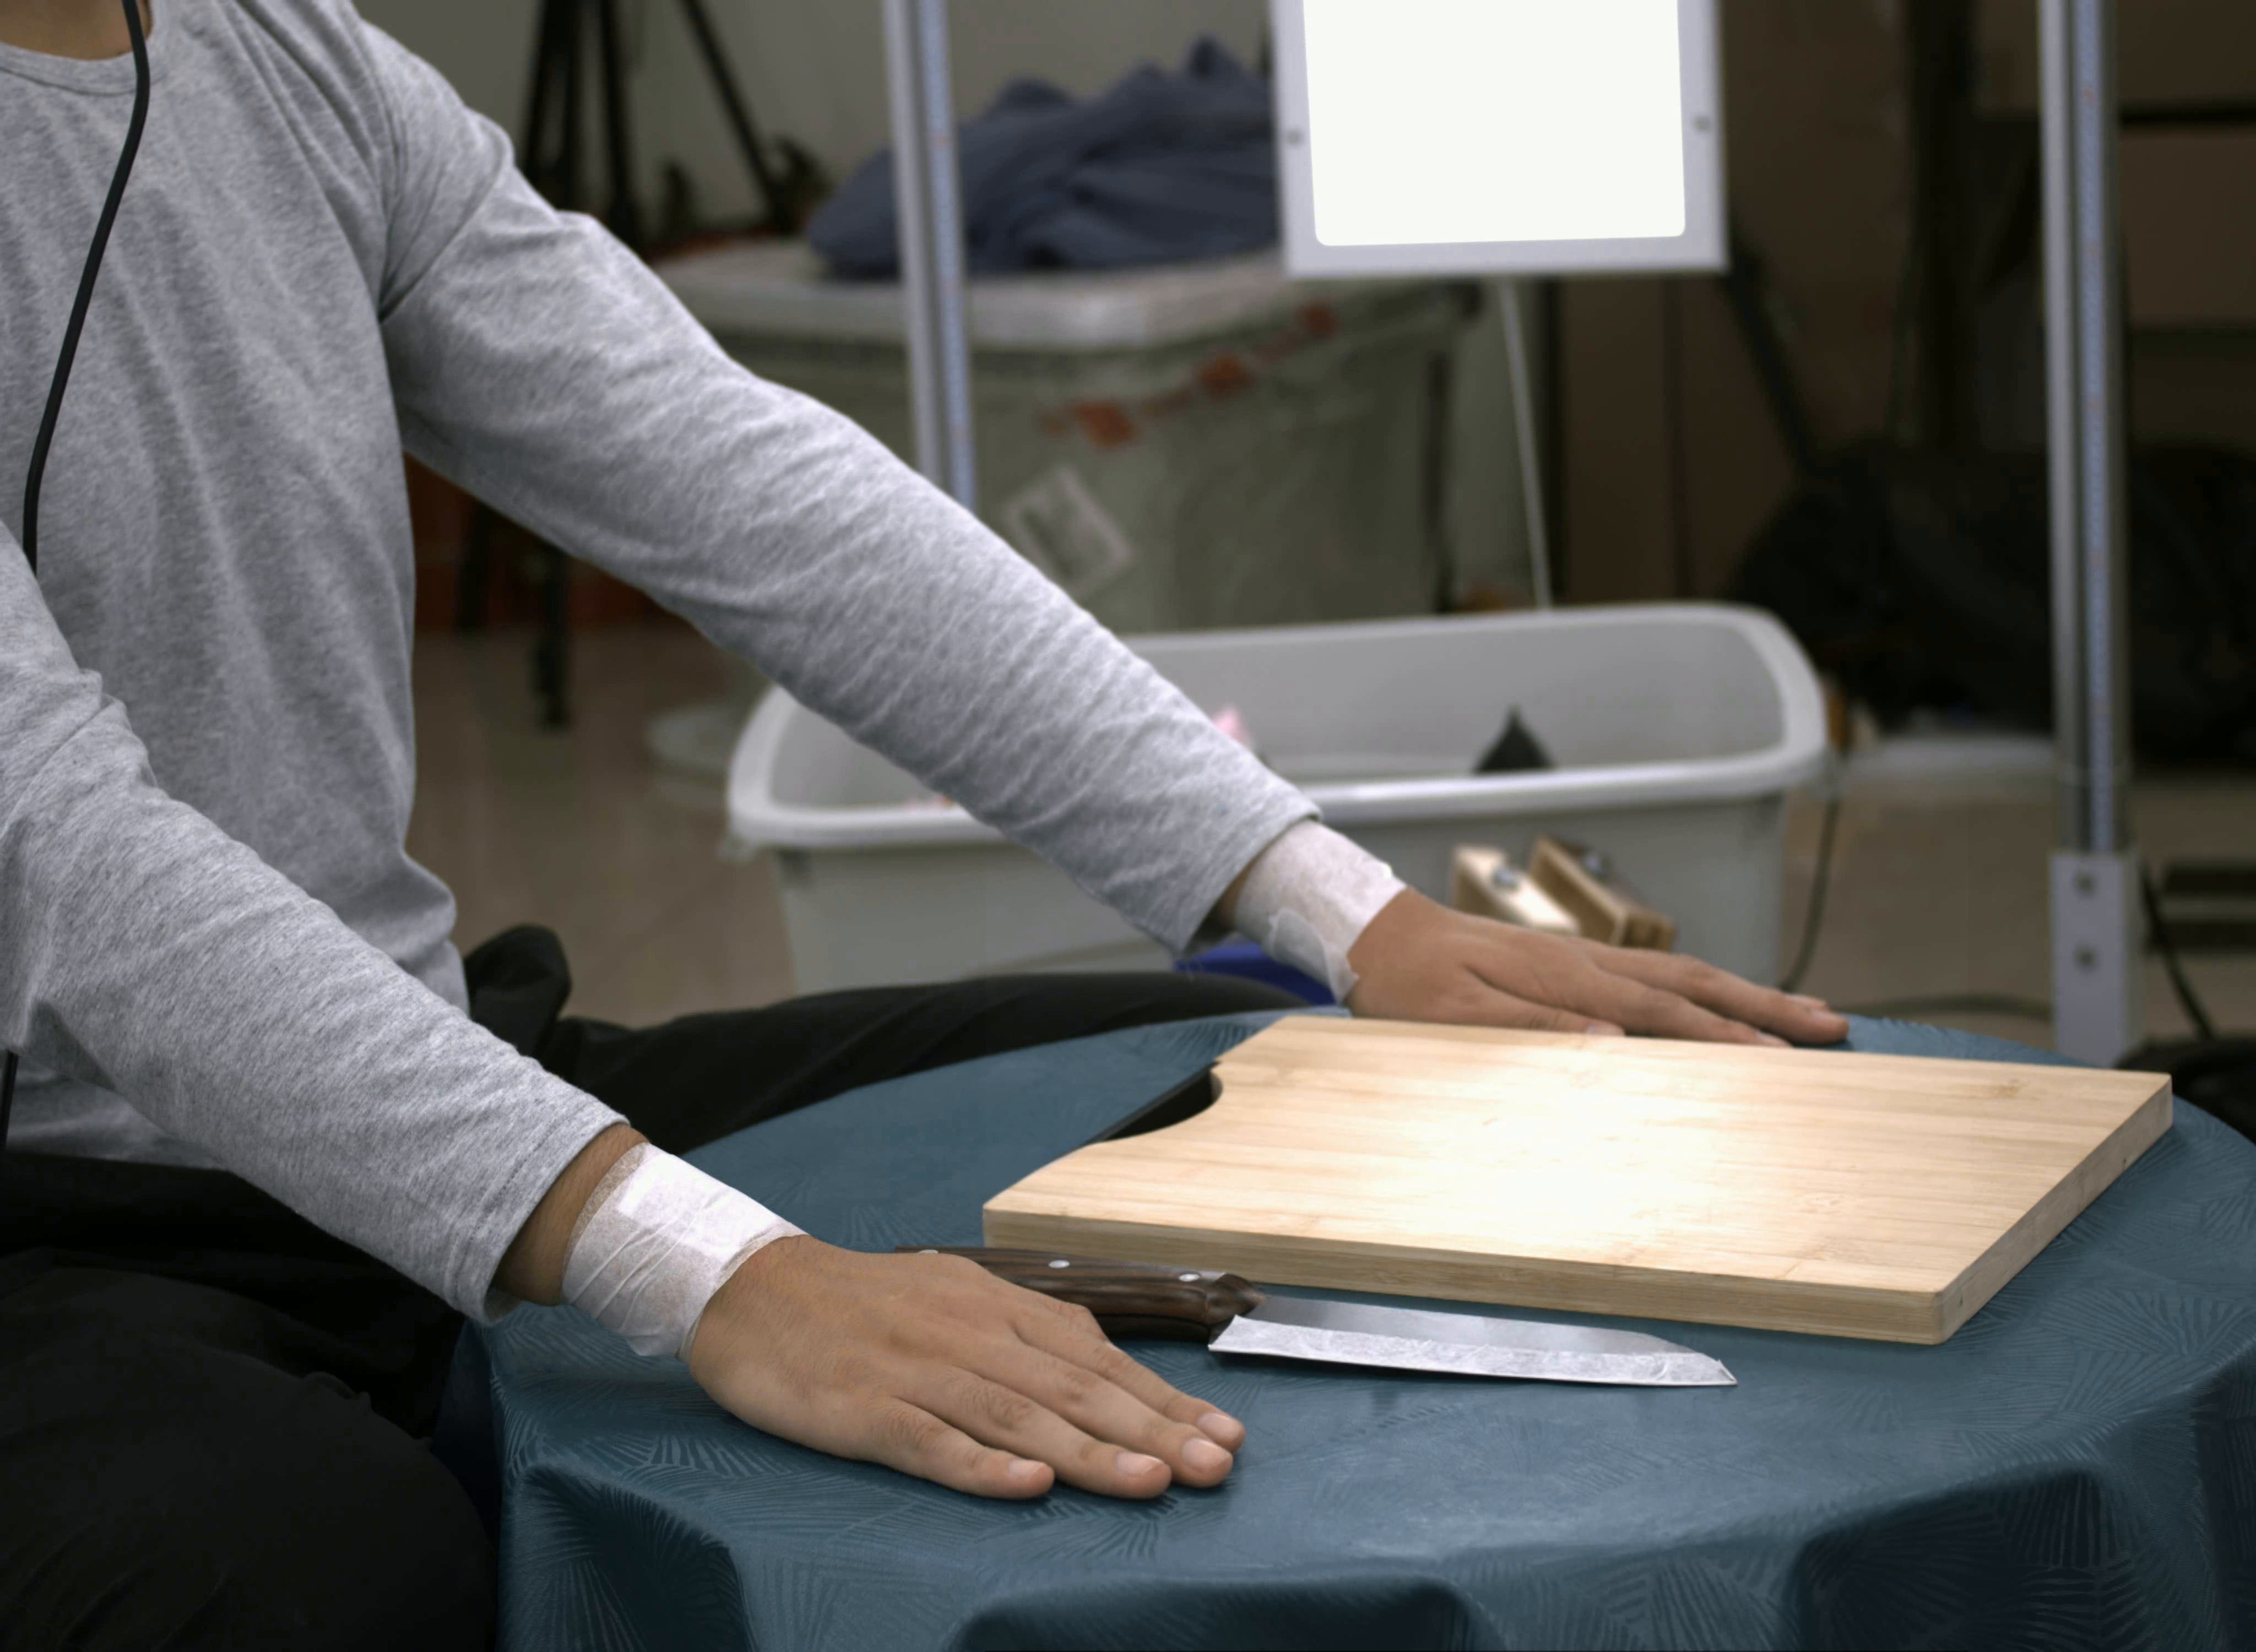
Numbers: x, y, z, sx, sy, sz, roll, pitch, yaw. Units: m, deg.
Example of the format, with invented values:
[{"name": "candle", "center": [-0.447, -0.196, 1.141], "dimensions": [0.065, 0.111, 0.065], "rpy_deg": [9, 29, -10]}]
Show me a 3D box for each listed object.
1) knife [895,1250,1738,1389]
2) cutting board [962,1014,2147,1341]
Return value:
[{"name": "knife", "center": [0.055, 0.157, 1.727], "dimensions": [0.294, 0.020, 0.049], "rpy_deg": [4, 21, 26]}, {"name": "cutting board", "center": [0.150, 0.115, 1.863], "dimensions": [0.355, 0.023, 0.245], "rpy_deg": [2, 15, 29]}]
